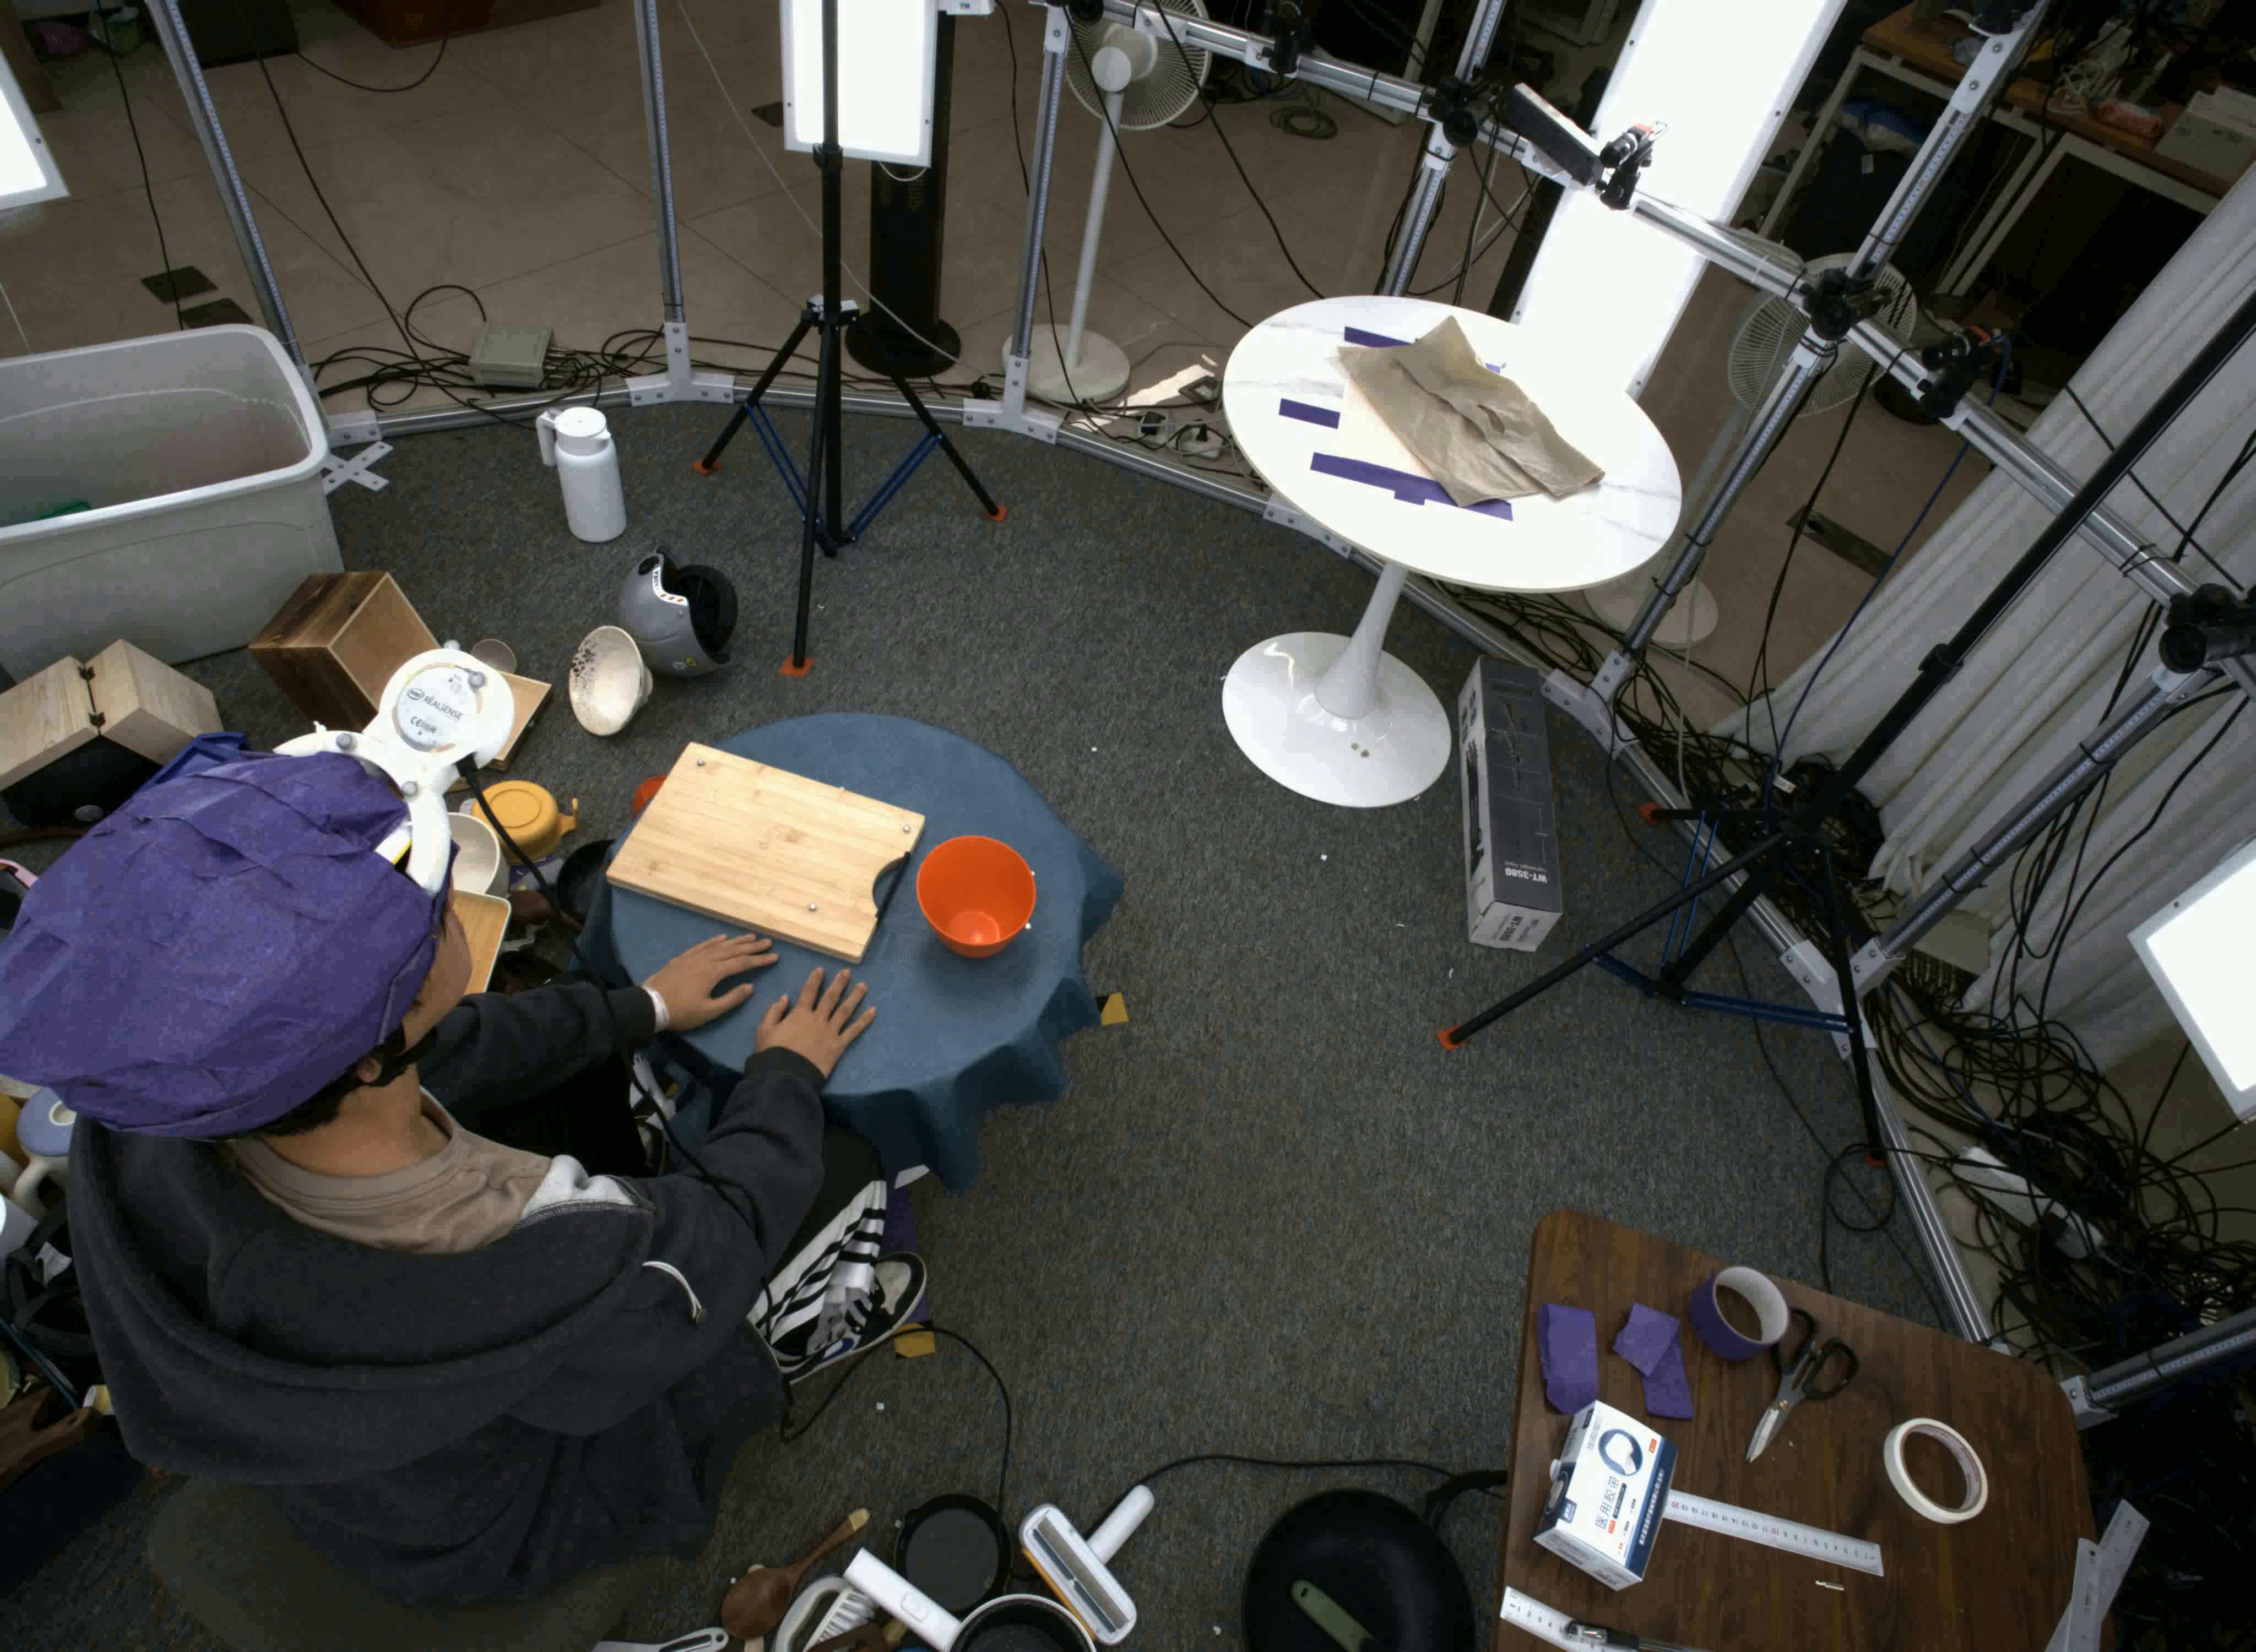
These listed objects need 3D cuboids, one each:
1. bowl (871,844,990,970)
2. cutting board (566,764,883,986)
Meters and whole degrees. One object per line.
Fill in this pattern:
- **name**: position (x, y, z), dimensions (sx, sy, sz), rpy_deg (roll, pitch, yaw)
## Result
- **bowl**: position (-0.248, 0.111, 1.625), dimensions (0.148, 0.107, 0.145), rpy_deg (9, 50, -9)
- **cutting board**: position (-0.516, 0.055, 1.654), dimensions (0.346, 0.024, 0.247), rpy_deg (15, 52, -3)
